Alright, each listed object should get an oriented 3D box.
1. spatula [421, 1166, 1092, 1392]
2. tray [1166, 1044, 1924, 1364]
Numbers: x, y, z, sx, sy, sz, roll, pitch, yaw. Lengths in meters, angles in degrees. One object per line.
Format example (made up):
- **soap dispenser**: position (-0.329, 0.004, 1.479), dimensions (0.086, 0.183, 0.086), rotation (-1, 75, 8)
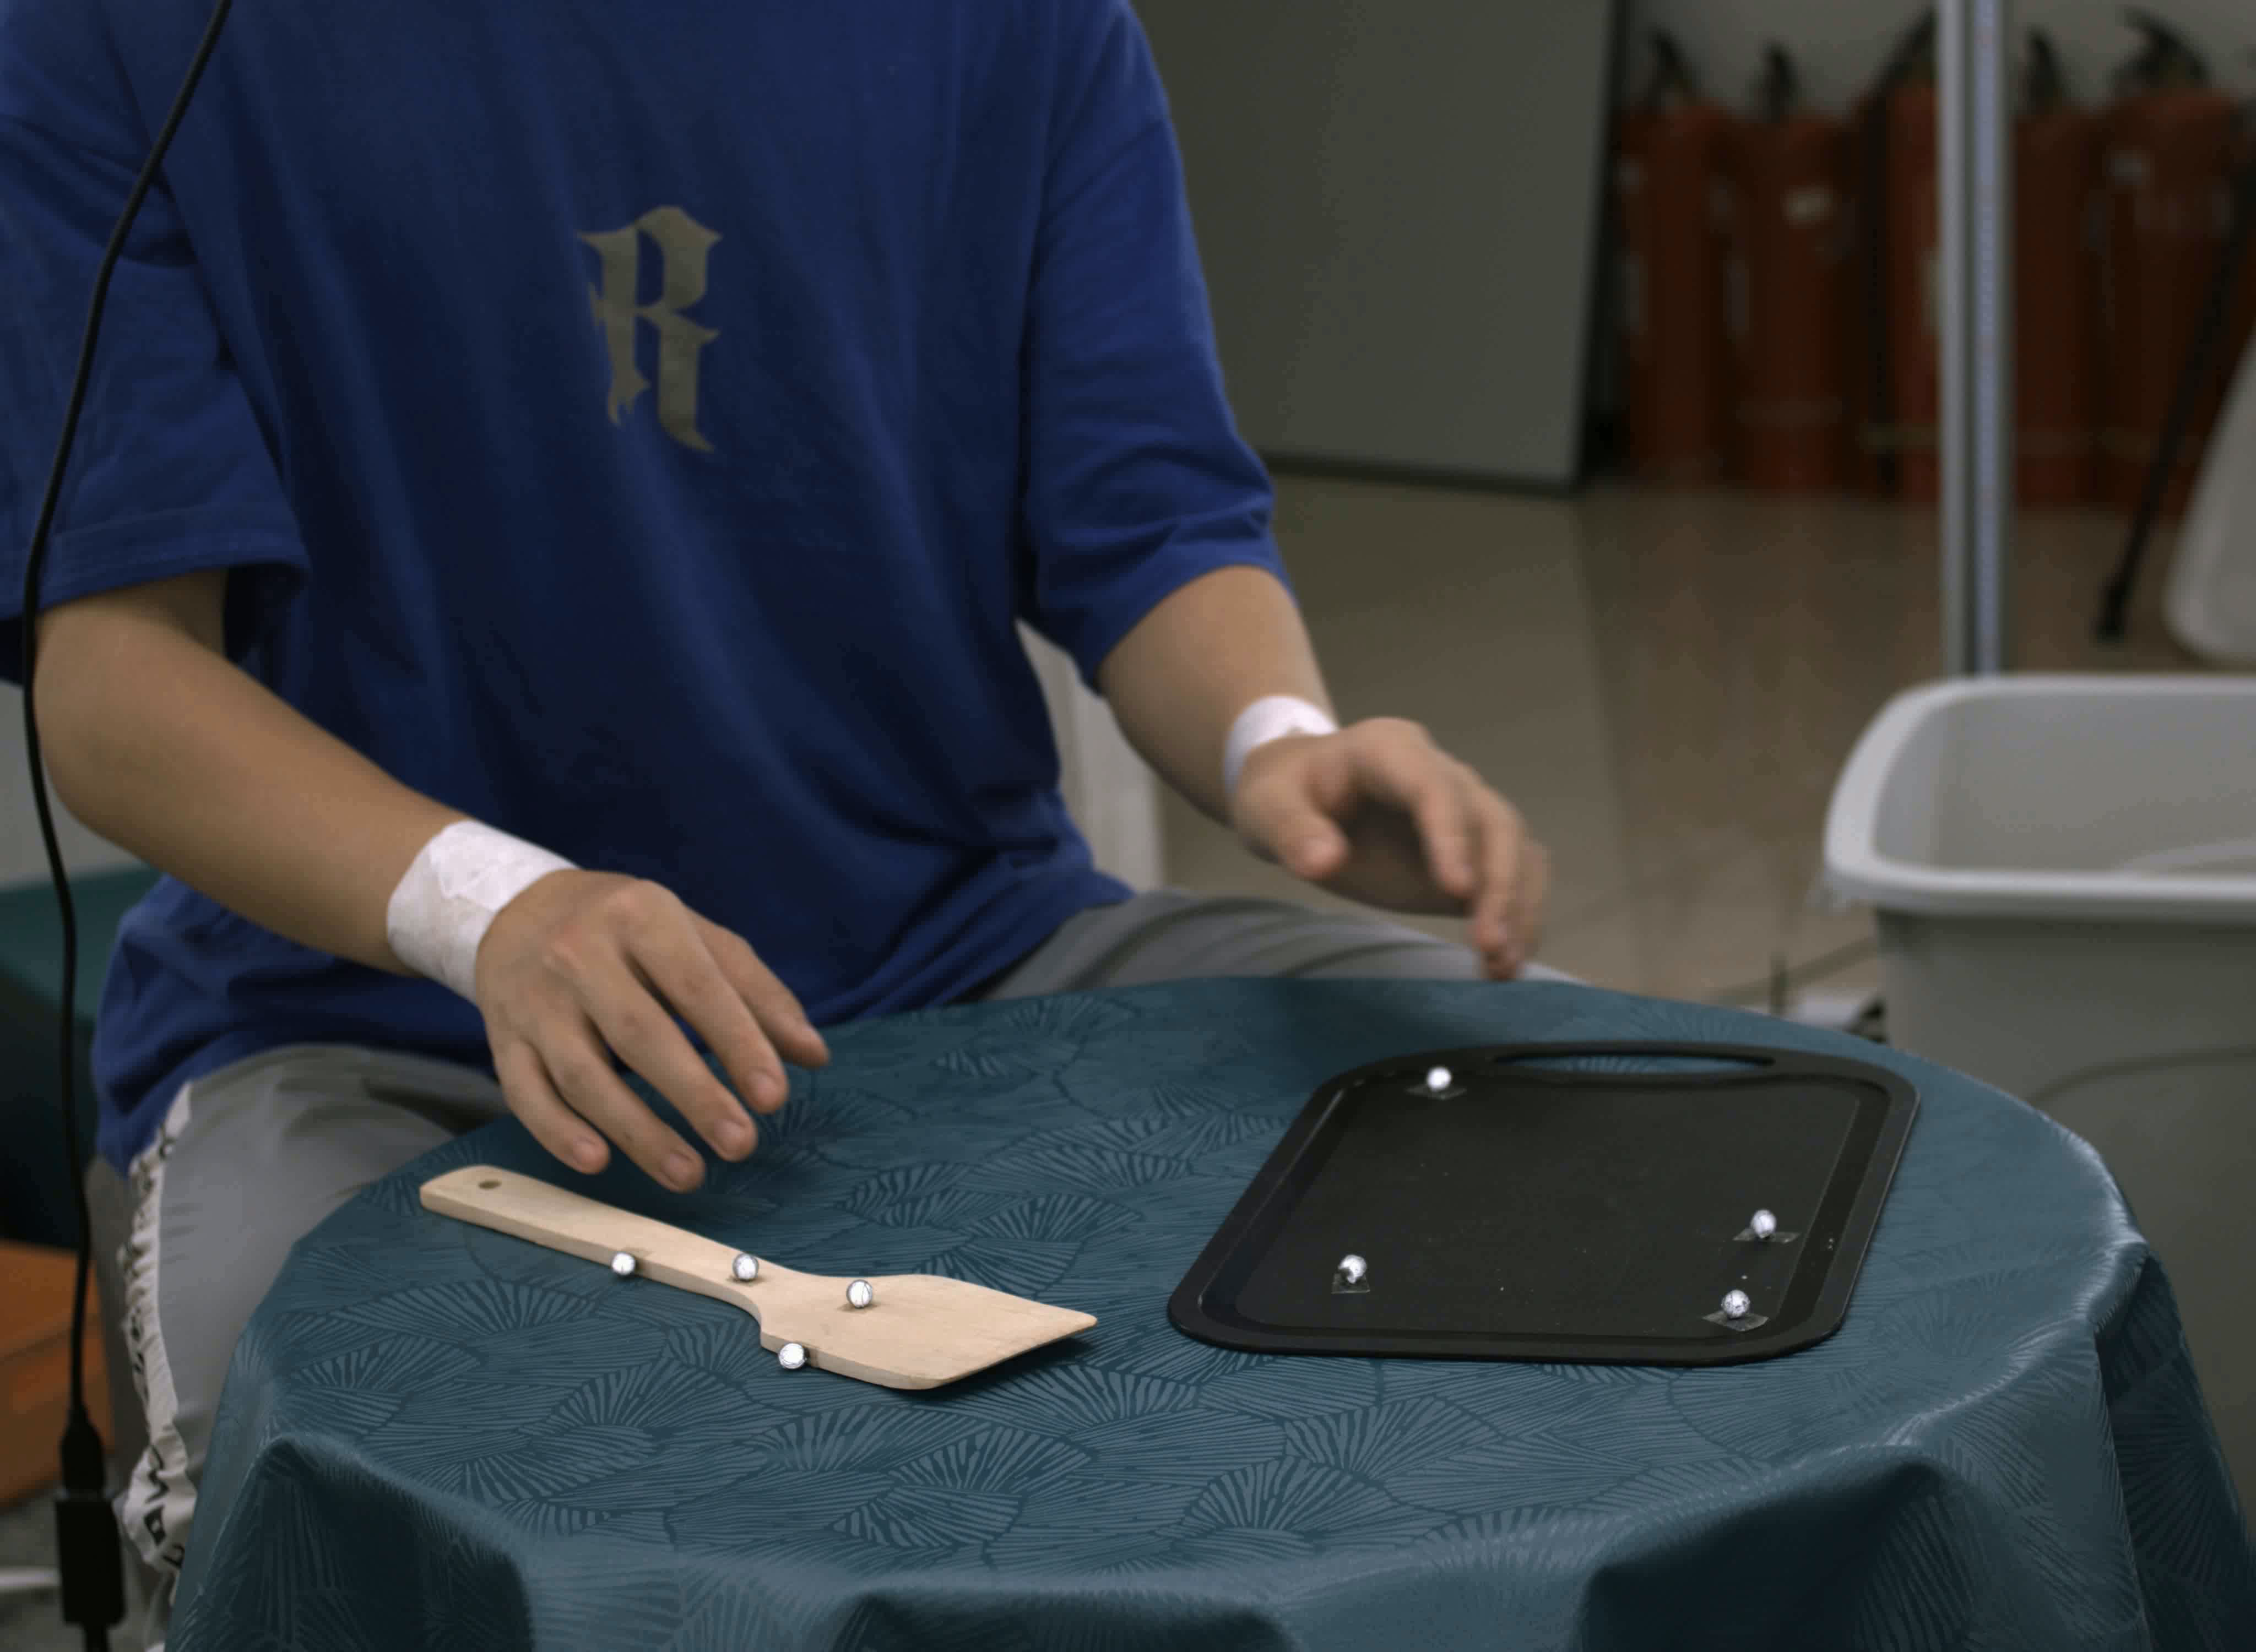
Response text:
- **spatula**: position (-0.132, 0.140, 1.712), dimensions (0.071, 0.011, 0.296), rotation (-17, 19, -40)
- **tray**: position (0.142, 0.115, 1.739), dimensions (0.210, 0.010, 0.323), rotation (0, 14, 16)
